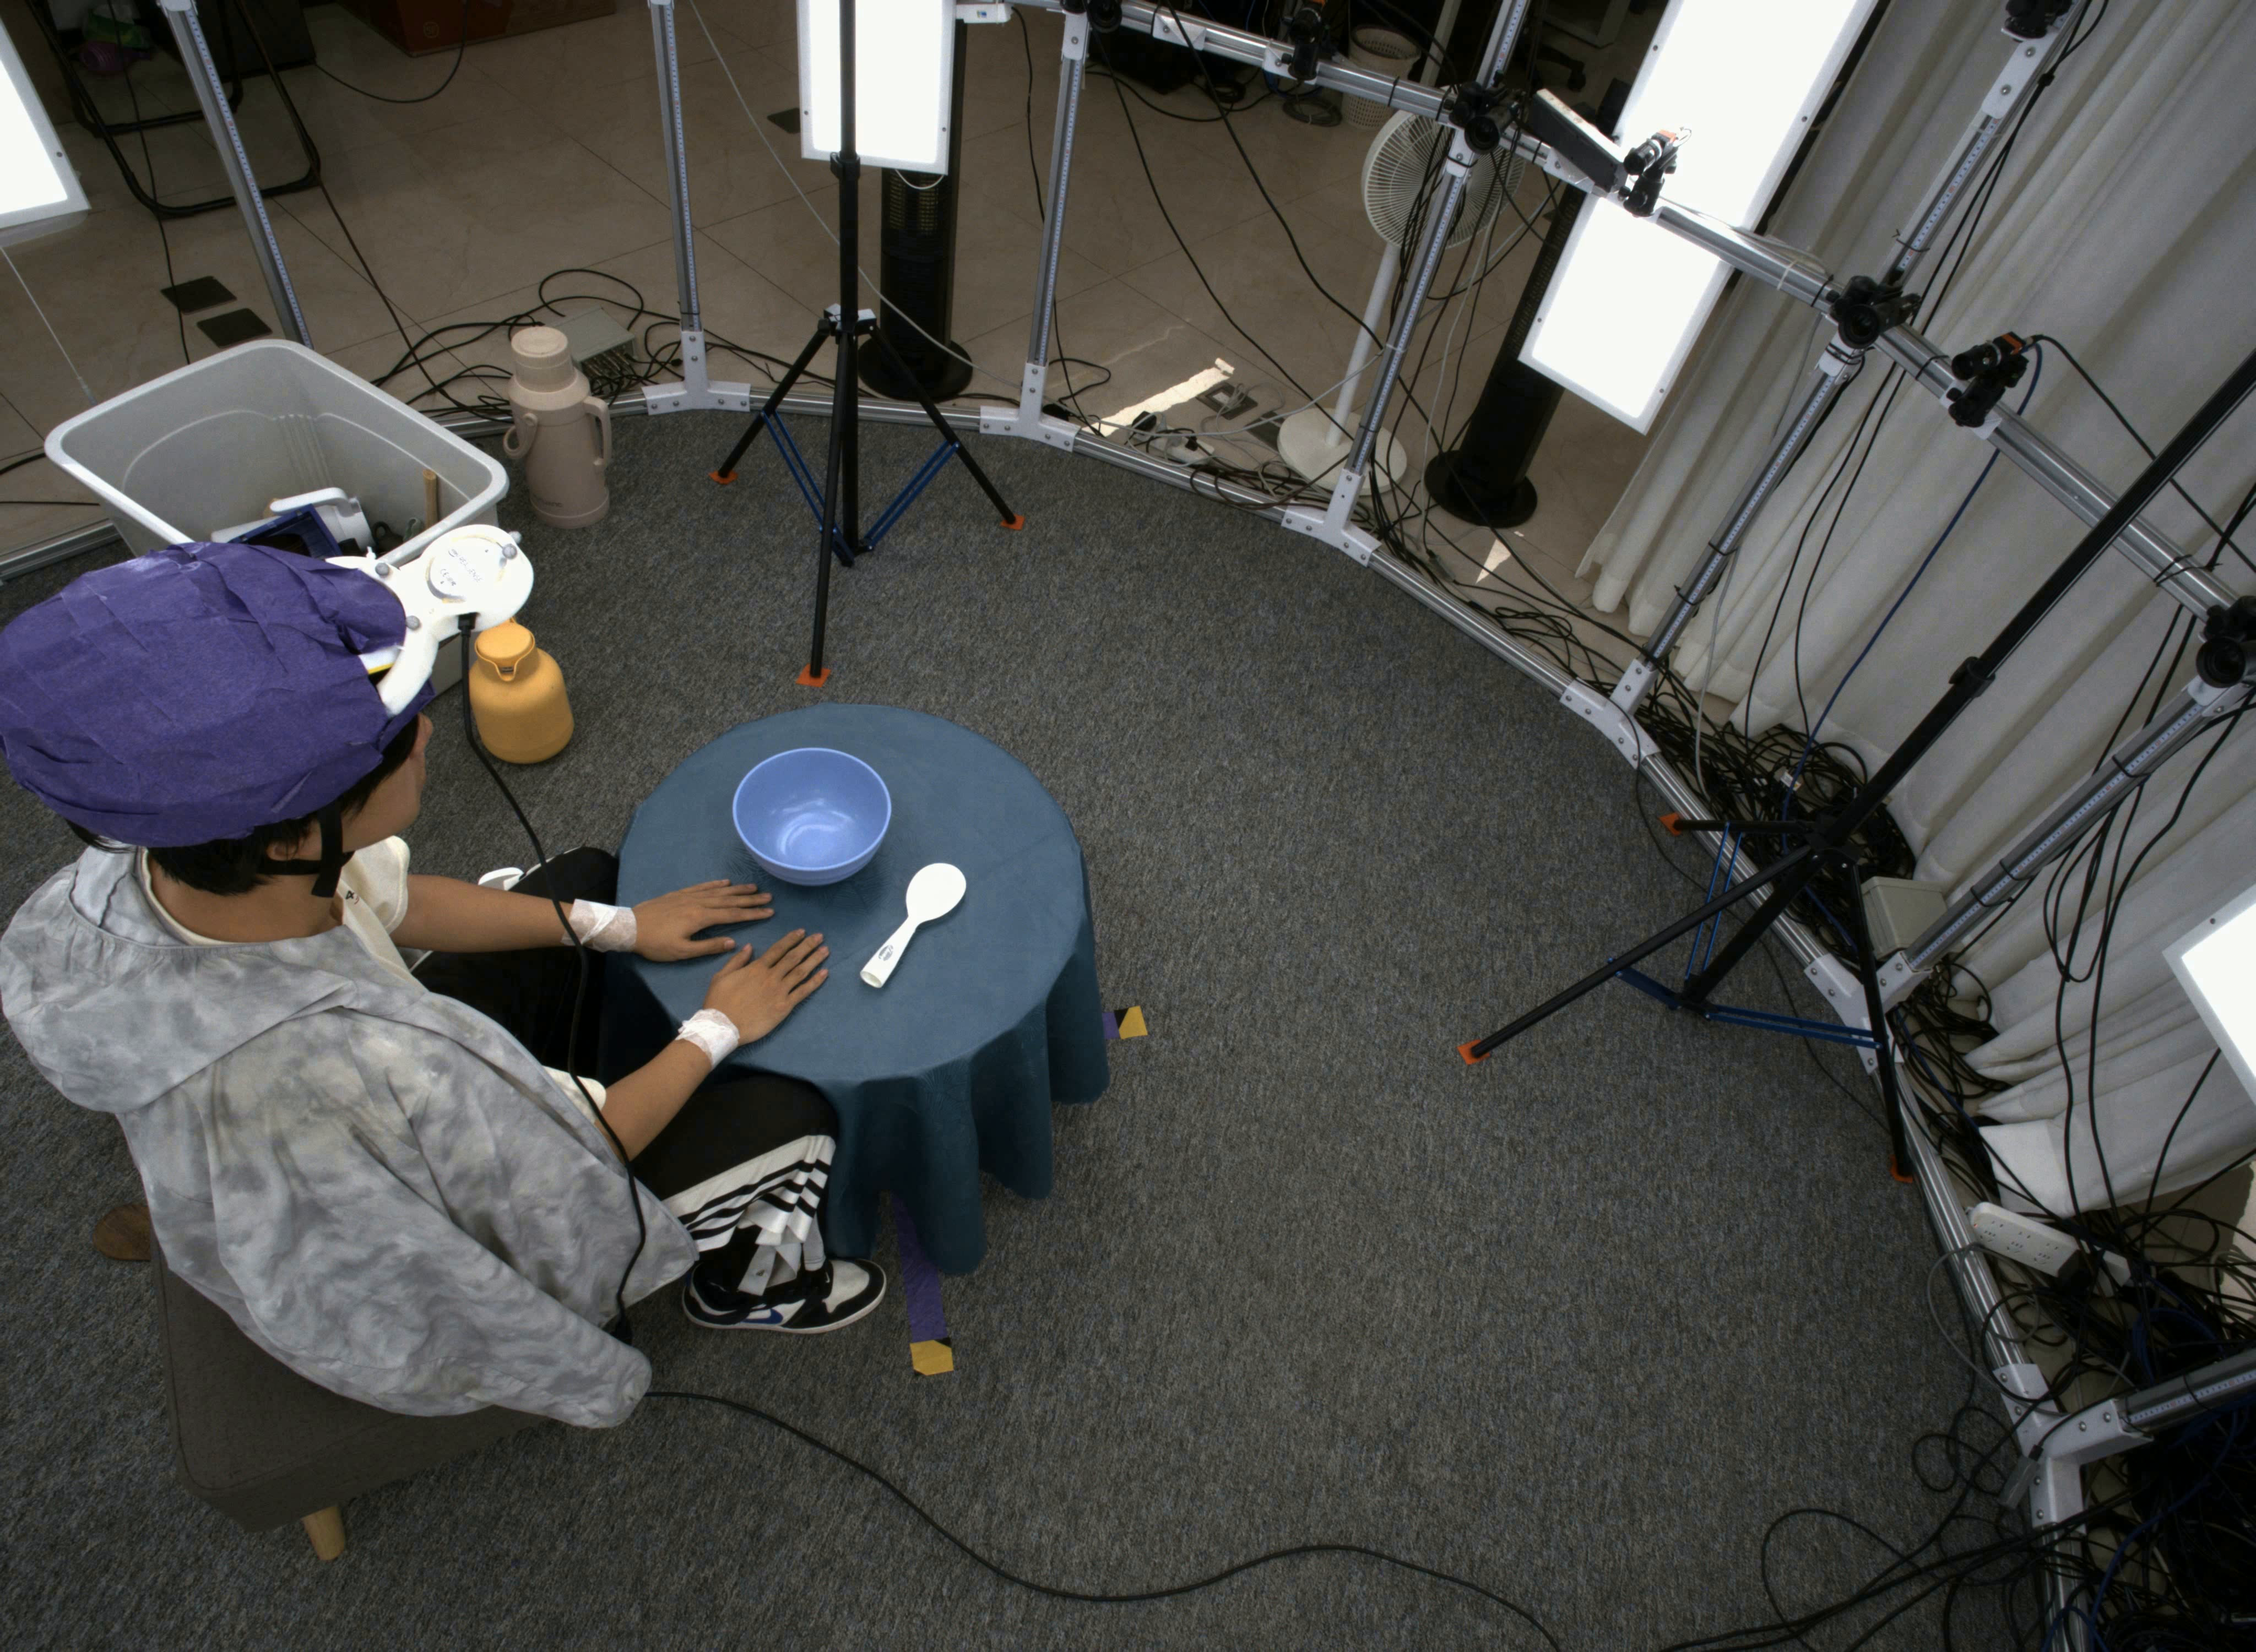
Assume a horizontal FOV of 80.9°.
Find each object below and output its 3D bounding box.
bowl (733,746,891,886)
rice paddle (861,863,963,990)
[{"bbox_3d":[-0.405,0.002,1.667,0.196,0.097,0.193,9,50,-9],"label":"bowl"},{"bbox_3d":[-0.274,0.119,1.655,0.068,0.030,0.204,27,52,5],"label":"rice paddle"}]
